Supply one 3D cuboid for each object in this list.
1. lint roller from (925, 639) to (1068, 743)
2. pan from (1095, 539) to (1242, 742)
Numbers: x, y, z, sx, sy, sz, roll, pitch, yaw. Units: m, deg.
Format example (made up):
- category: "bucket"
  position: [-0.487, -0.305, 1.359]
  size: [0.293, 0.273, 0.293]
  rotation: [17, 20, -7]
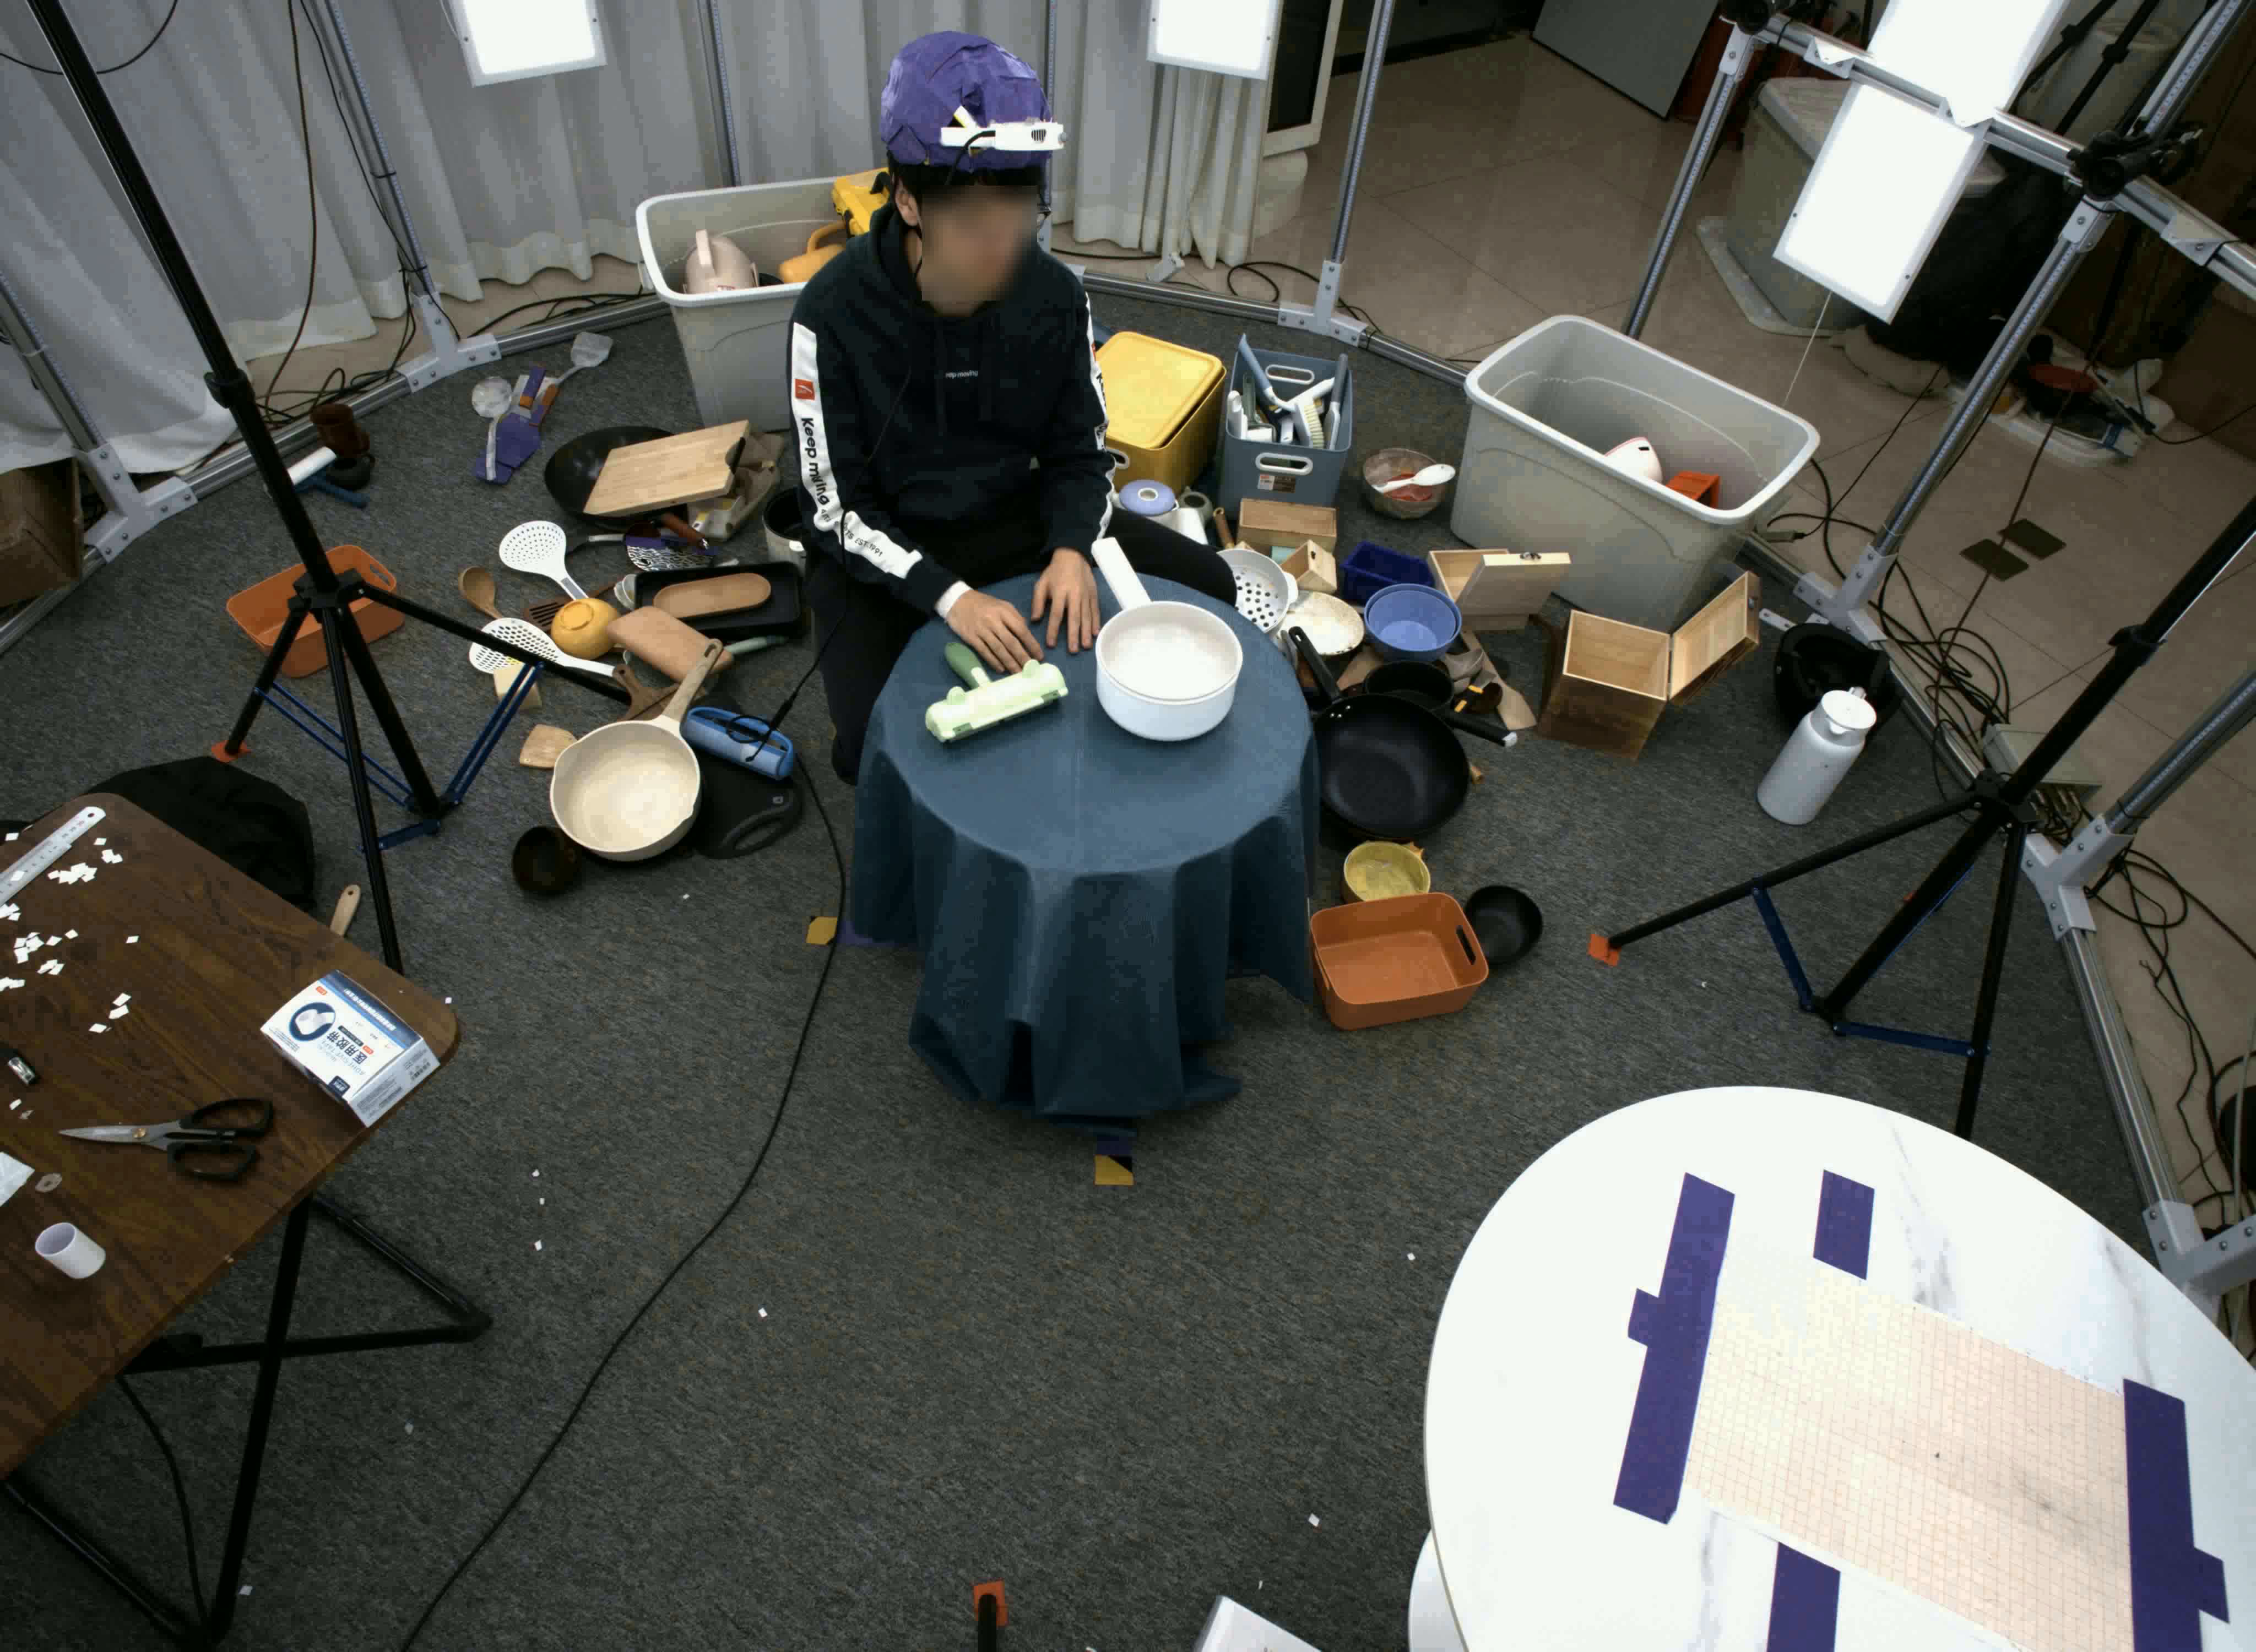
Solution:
- category: "lint roller"
  position: [-0.208, -0.216, 1.792]
  size: [0.199, 0.080, 0.187]
  rotation: [-23, 60, -21]
- category: "pan"
  position: [0.027, -0.266, 1.839]
  size: [0.201, 0.099, 0.363]
  rotation: [-15, 51, -14]
